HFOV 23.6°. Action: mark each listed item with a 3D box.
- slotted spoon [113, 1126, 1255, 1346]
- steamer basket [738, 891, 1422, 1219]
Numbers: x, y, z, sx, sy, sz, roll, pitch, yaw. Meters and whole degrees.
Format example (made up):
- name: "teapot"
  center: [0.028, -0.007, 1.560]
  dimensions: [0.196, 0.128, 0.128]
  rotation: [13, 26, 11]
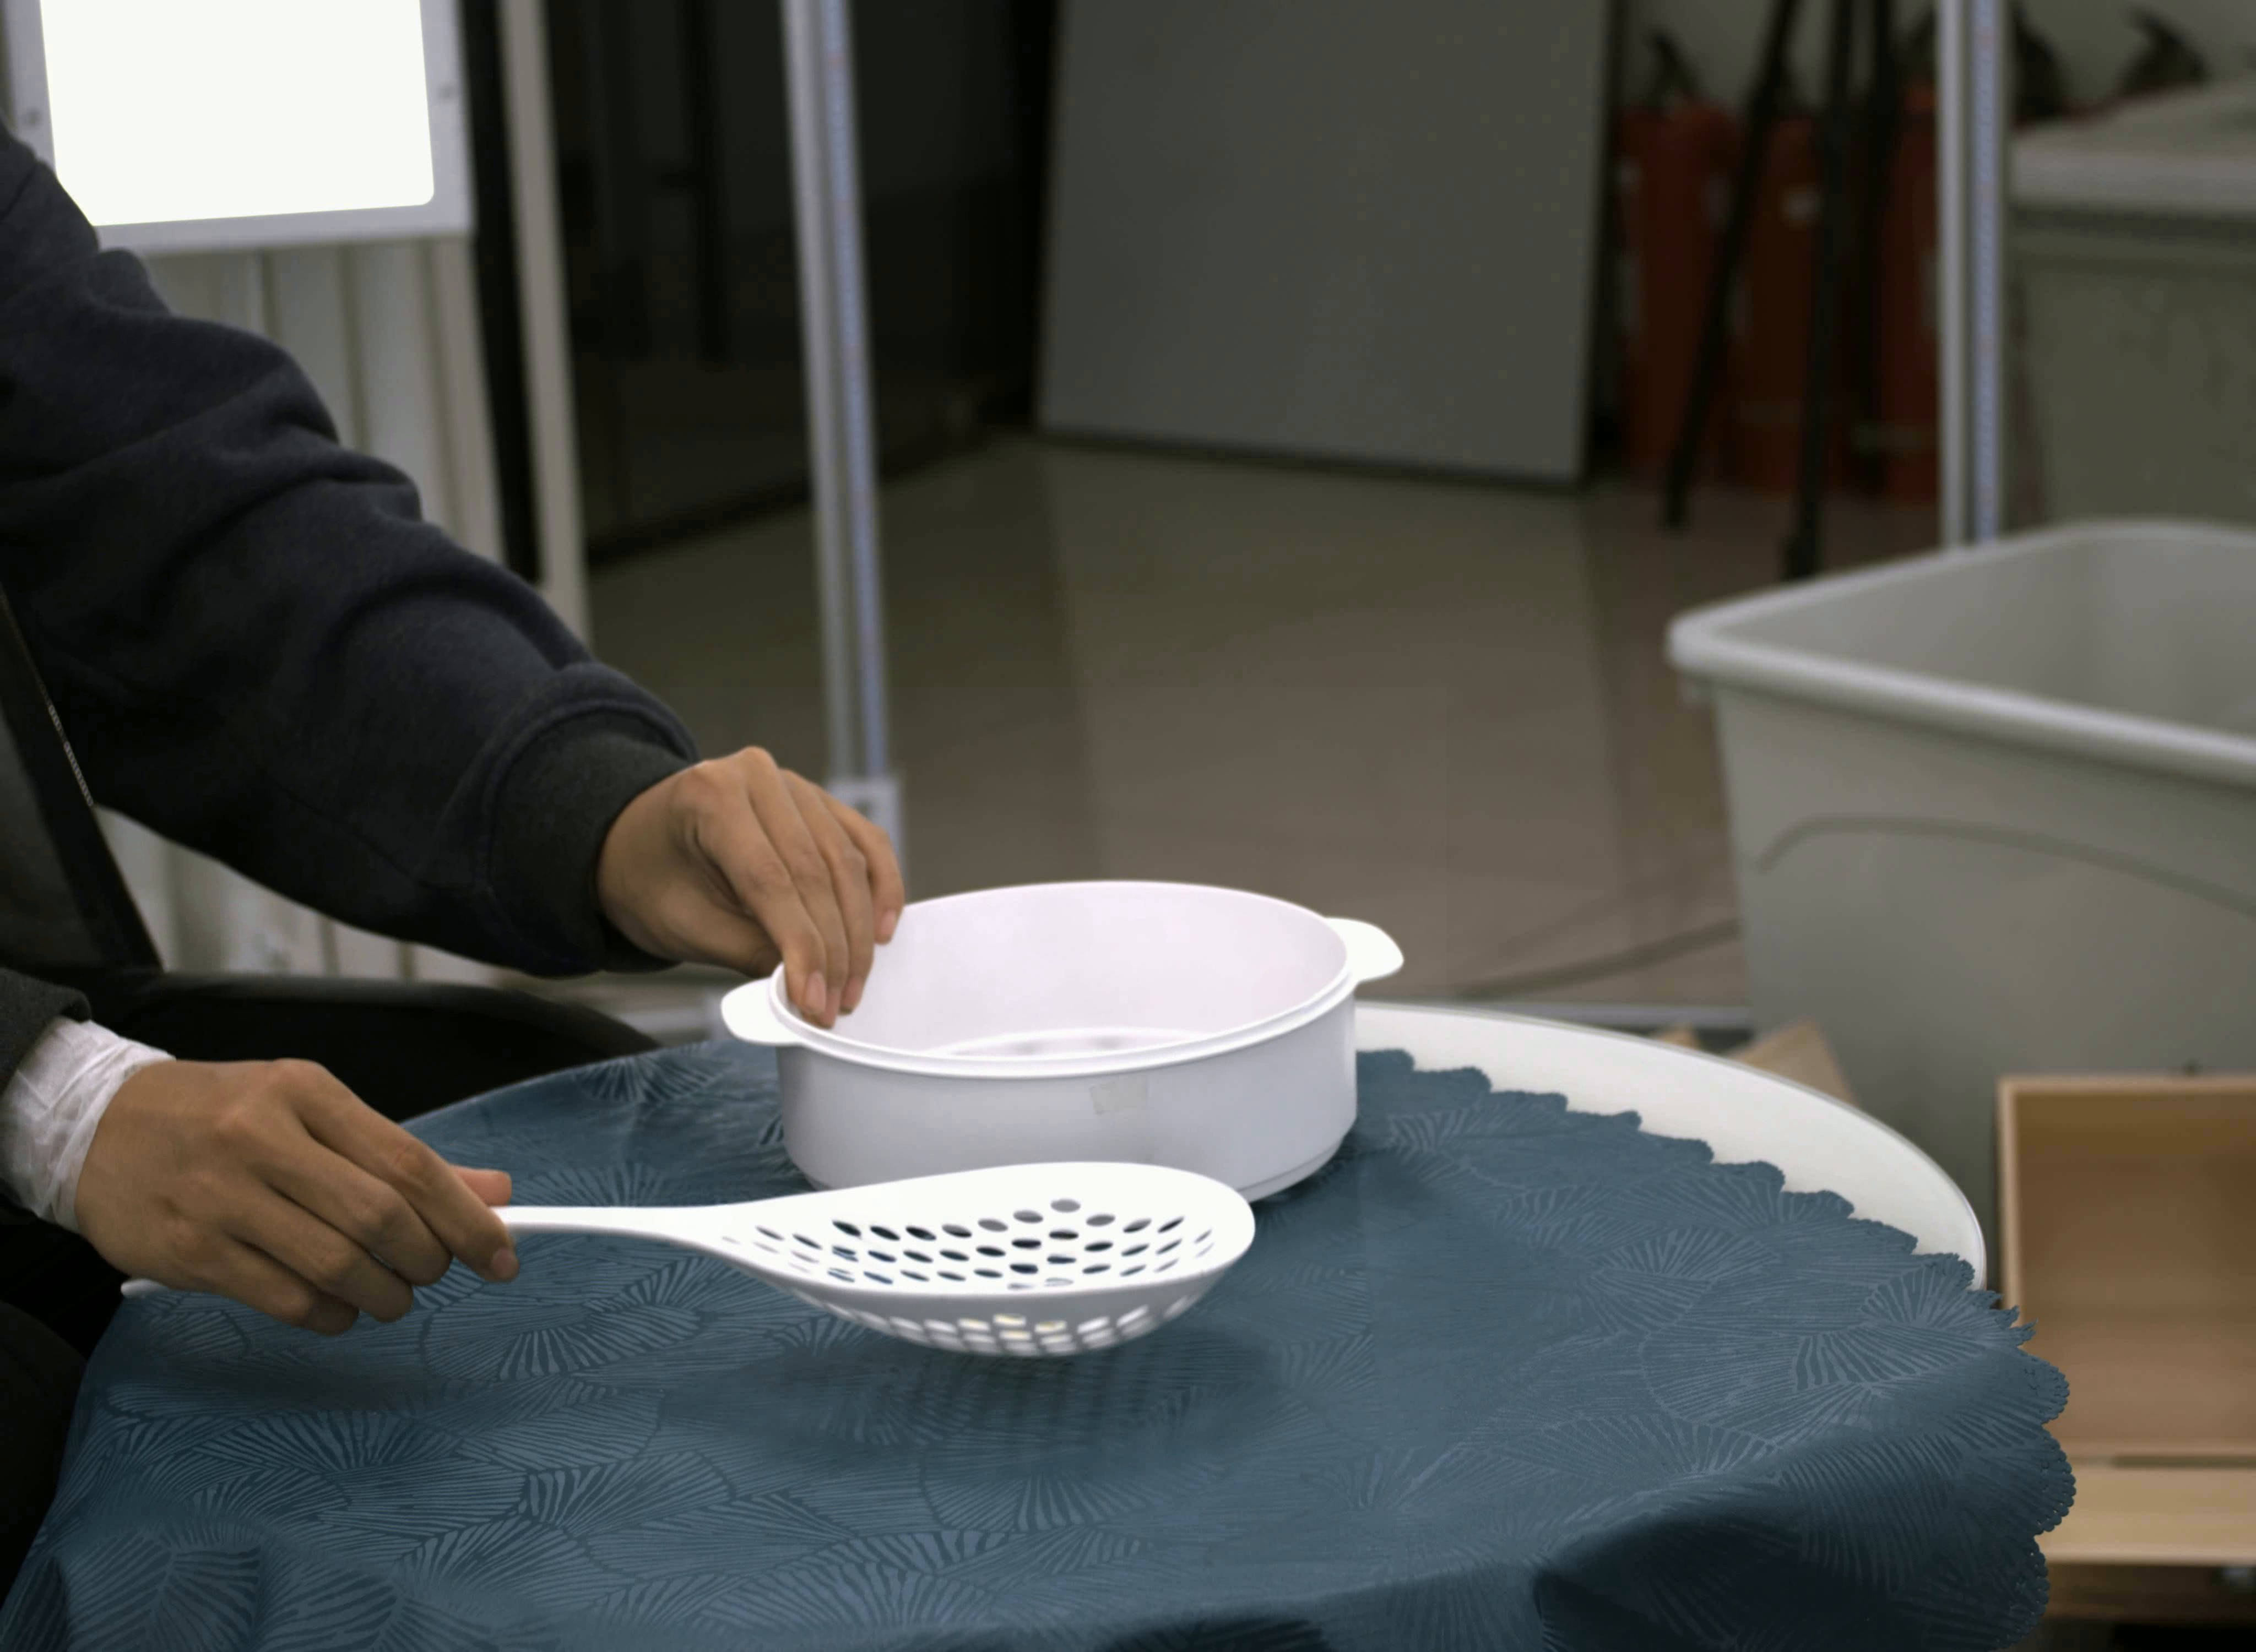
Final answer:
- name: "slotted spoon"
  center: [-0.133, 0.128, 1.618]
  dimensions: [0.345, 0.051, 0.136]
  rotation: [2, 14, 7]
- name: "steamer basket"
  center: [-0.015, 0.079, 1.798]
  dimensions: [0.226, 0.070, 0.203]
  rotation: [-4, 14, -9]
